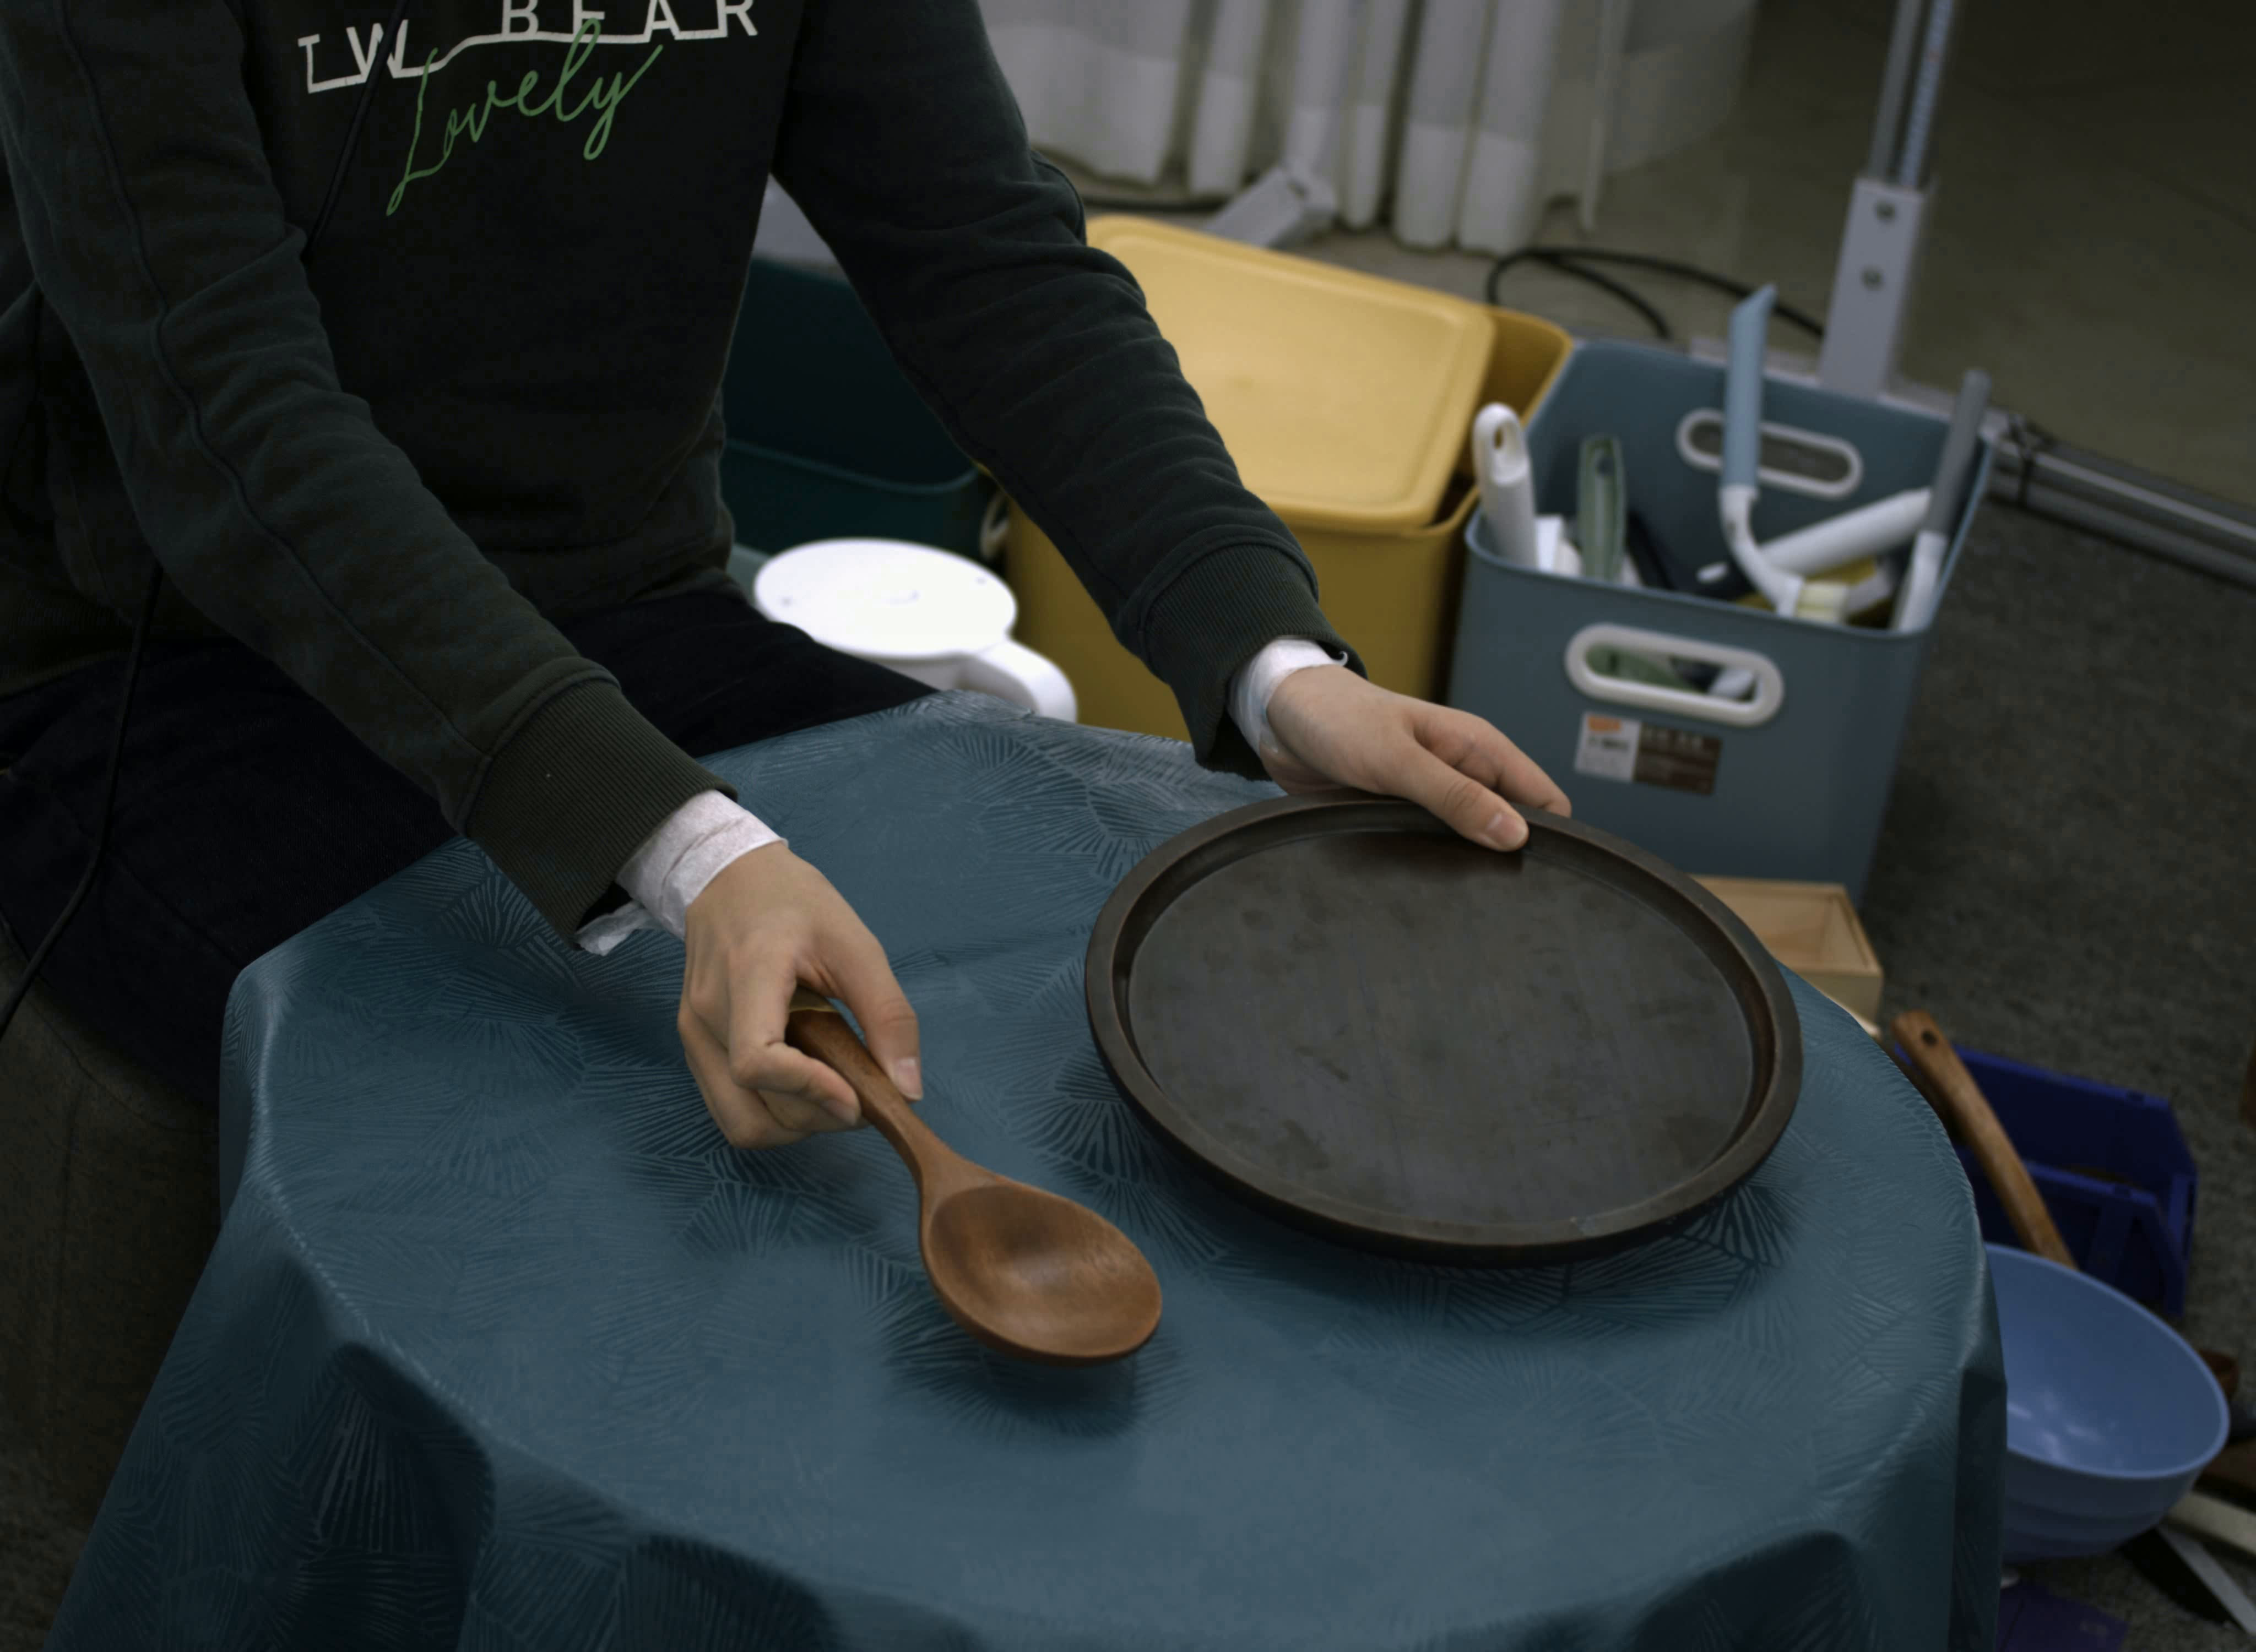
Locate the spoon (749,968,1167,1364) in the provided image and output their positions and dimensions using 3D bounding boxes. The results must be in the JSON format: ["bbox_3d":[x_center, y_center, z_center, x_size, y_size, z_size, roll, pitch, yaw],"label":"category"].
[{"bbox_3d":[-0.063,0.111,1.742,0.075,0.017,0.218,-13,40,-32],"label":"spoon"}]

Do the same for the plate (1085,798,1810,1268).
[{"bbox_3d":[0.110,0.069,1.846,0.254,0.029,0.257,5,36,-4],"label":"plate"}]
